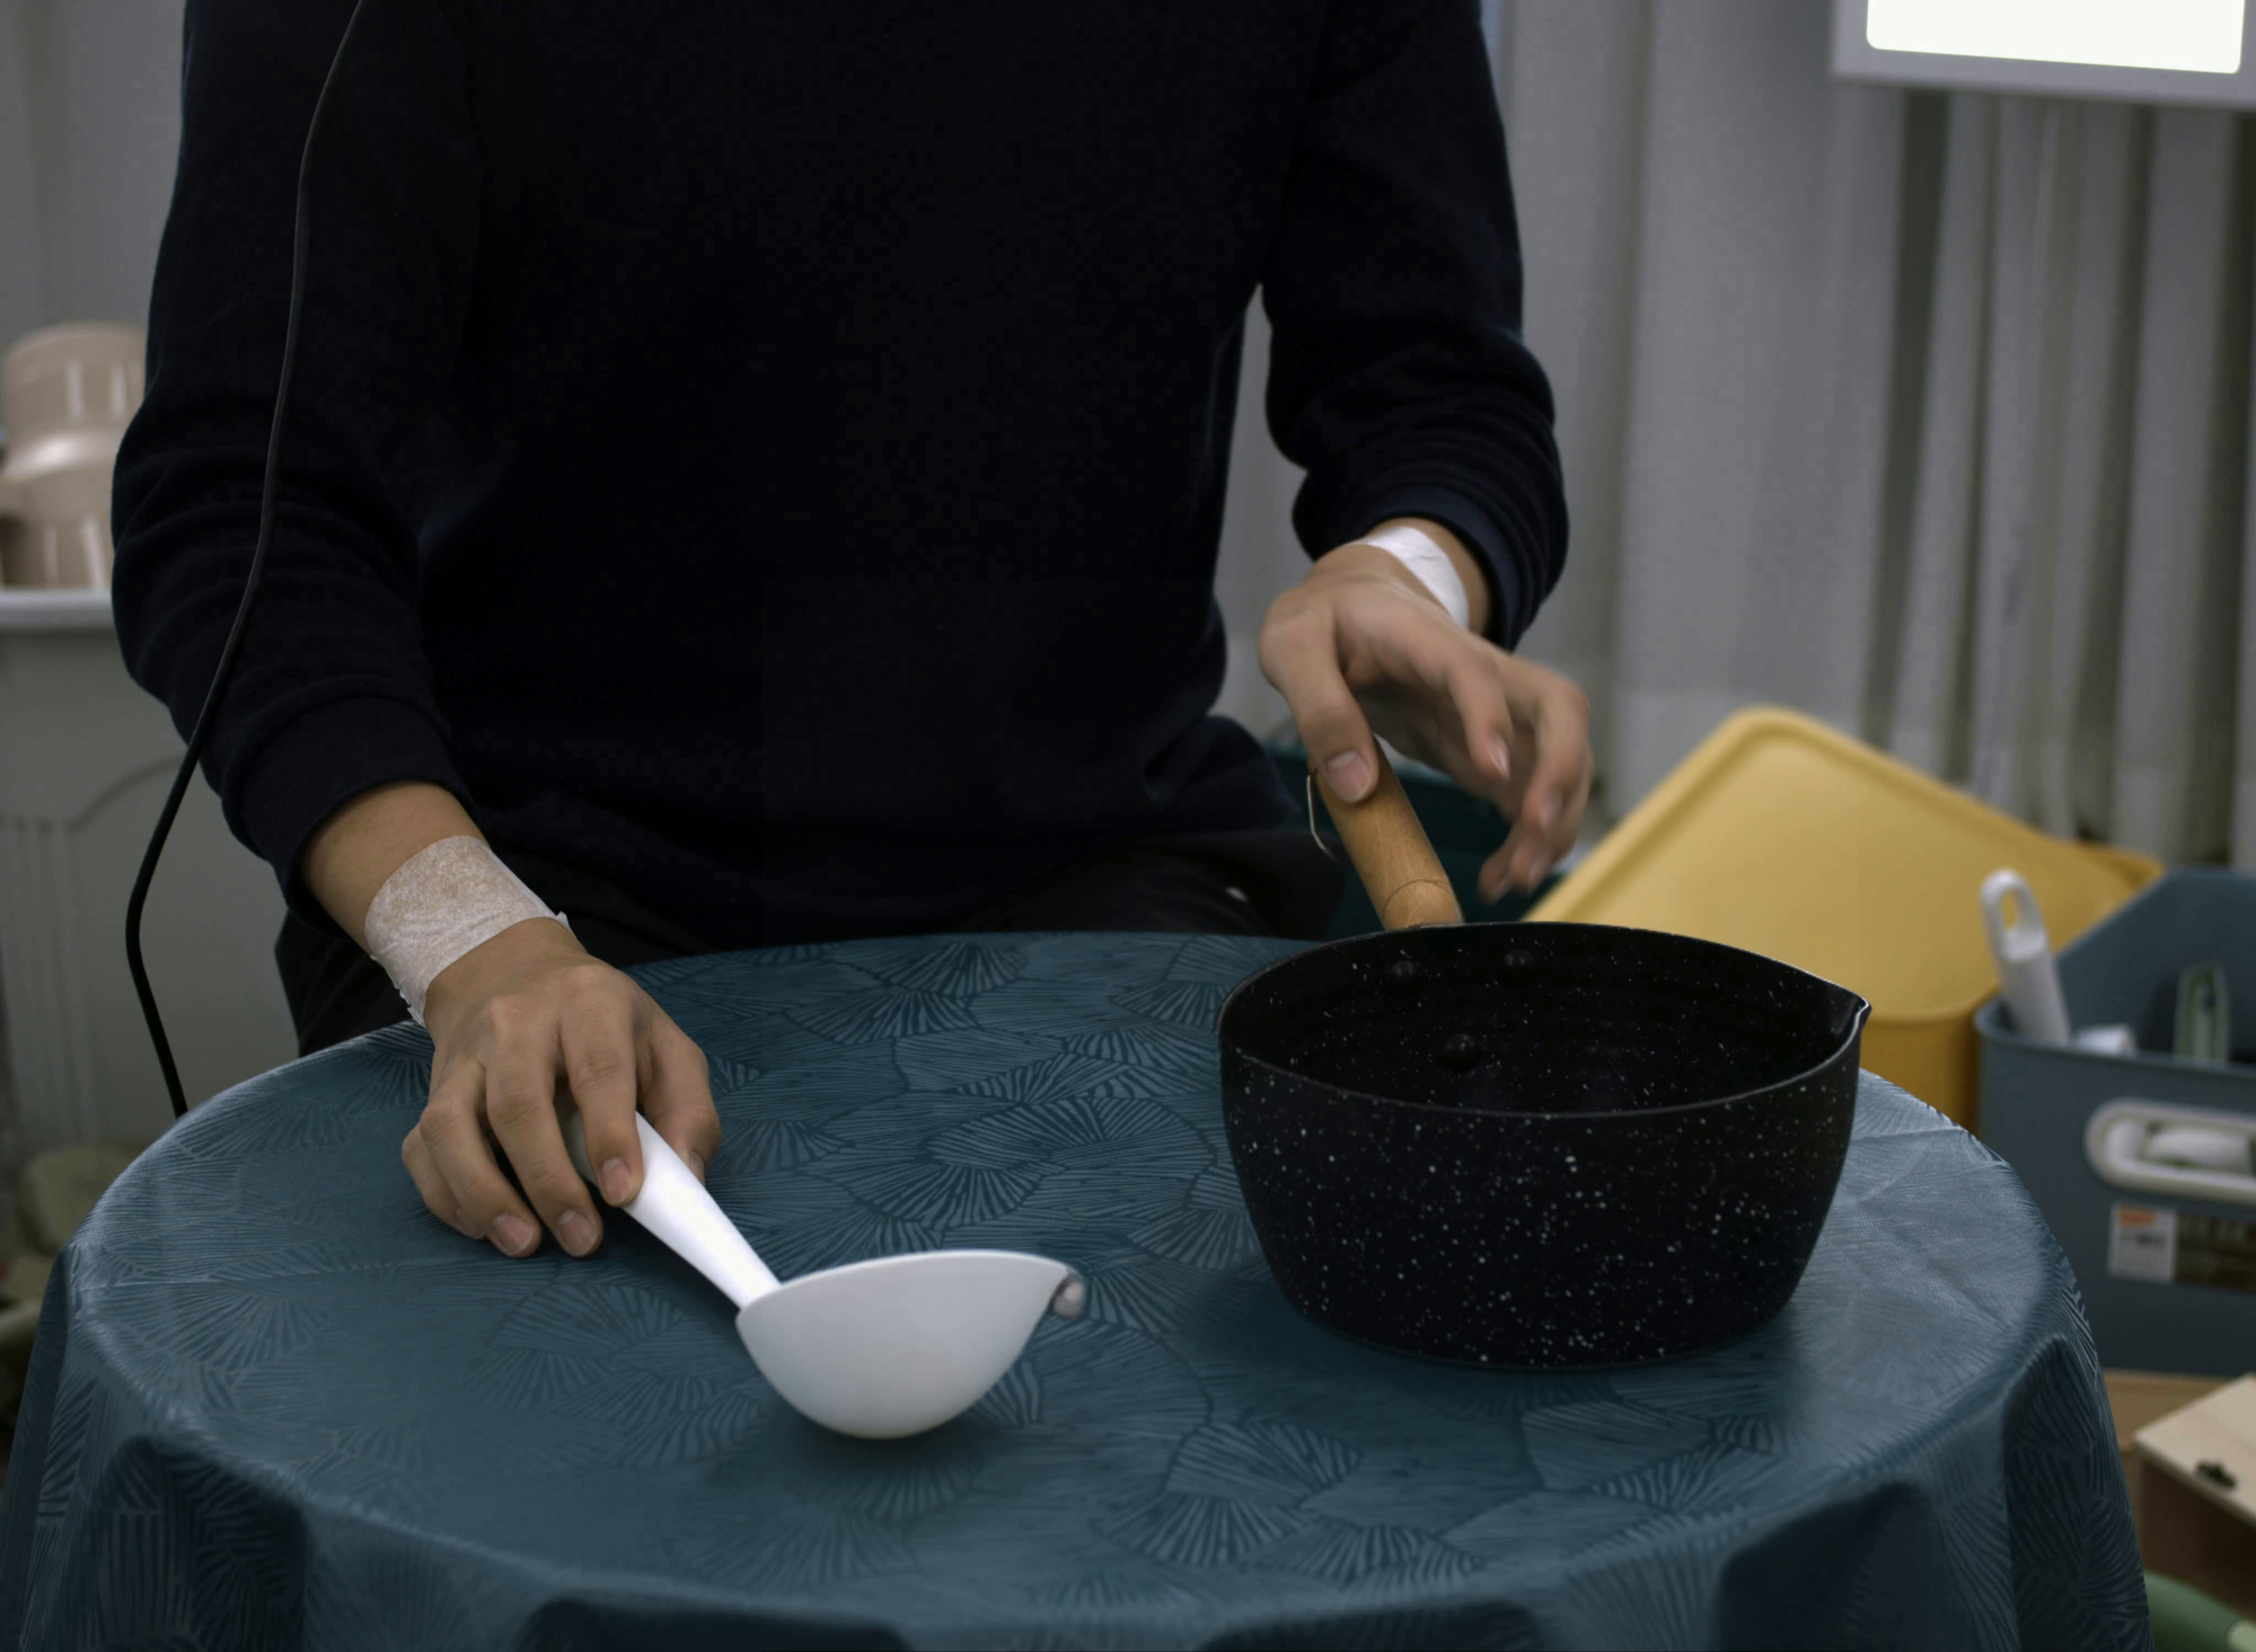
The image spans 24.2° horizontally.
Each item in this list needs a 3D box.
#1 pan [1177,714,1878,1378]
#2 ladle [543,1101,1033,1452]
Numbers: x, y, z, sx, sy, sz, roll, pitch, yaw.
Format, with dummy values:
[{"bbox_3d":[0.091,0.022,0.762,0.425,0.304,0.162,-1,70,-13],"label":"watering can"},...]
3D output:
[{"bbox_3d":[0.102,0.061,1.605,0.207,0.109,0.339,-4,18,-12],"label":"pan"},{"bbox_3d":[-0.112,0.114,1.510,0.090,0.070,0.290,-5,14,-22],"label":"ladle"}]
